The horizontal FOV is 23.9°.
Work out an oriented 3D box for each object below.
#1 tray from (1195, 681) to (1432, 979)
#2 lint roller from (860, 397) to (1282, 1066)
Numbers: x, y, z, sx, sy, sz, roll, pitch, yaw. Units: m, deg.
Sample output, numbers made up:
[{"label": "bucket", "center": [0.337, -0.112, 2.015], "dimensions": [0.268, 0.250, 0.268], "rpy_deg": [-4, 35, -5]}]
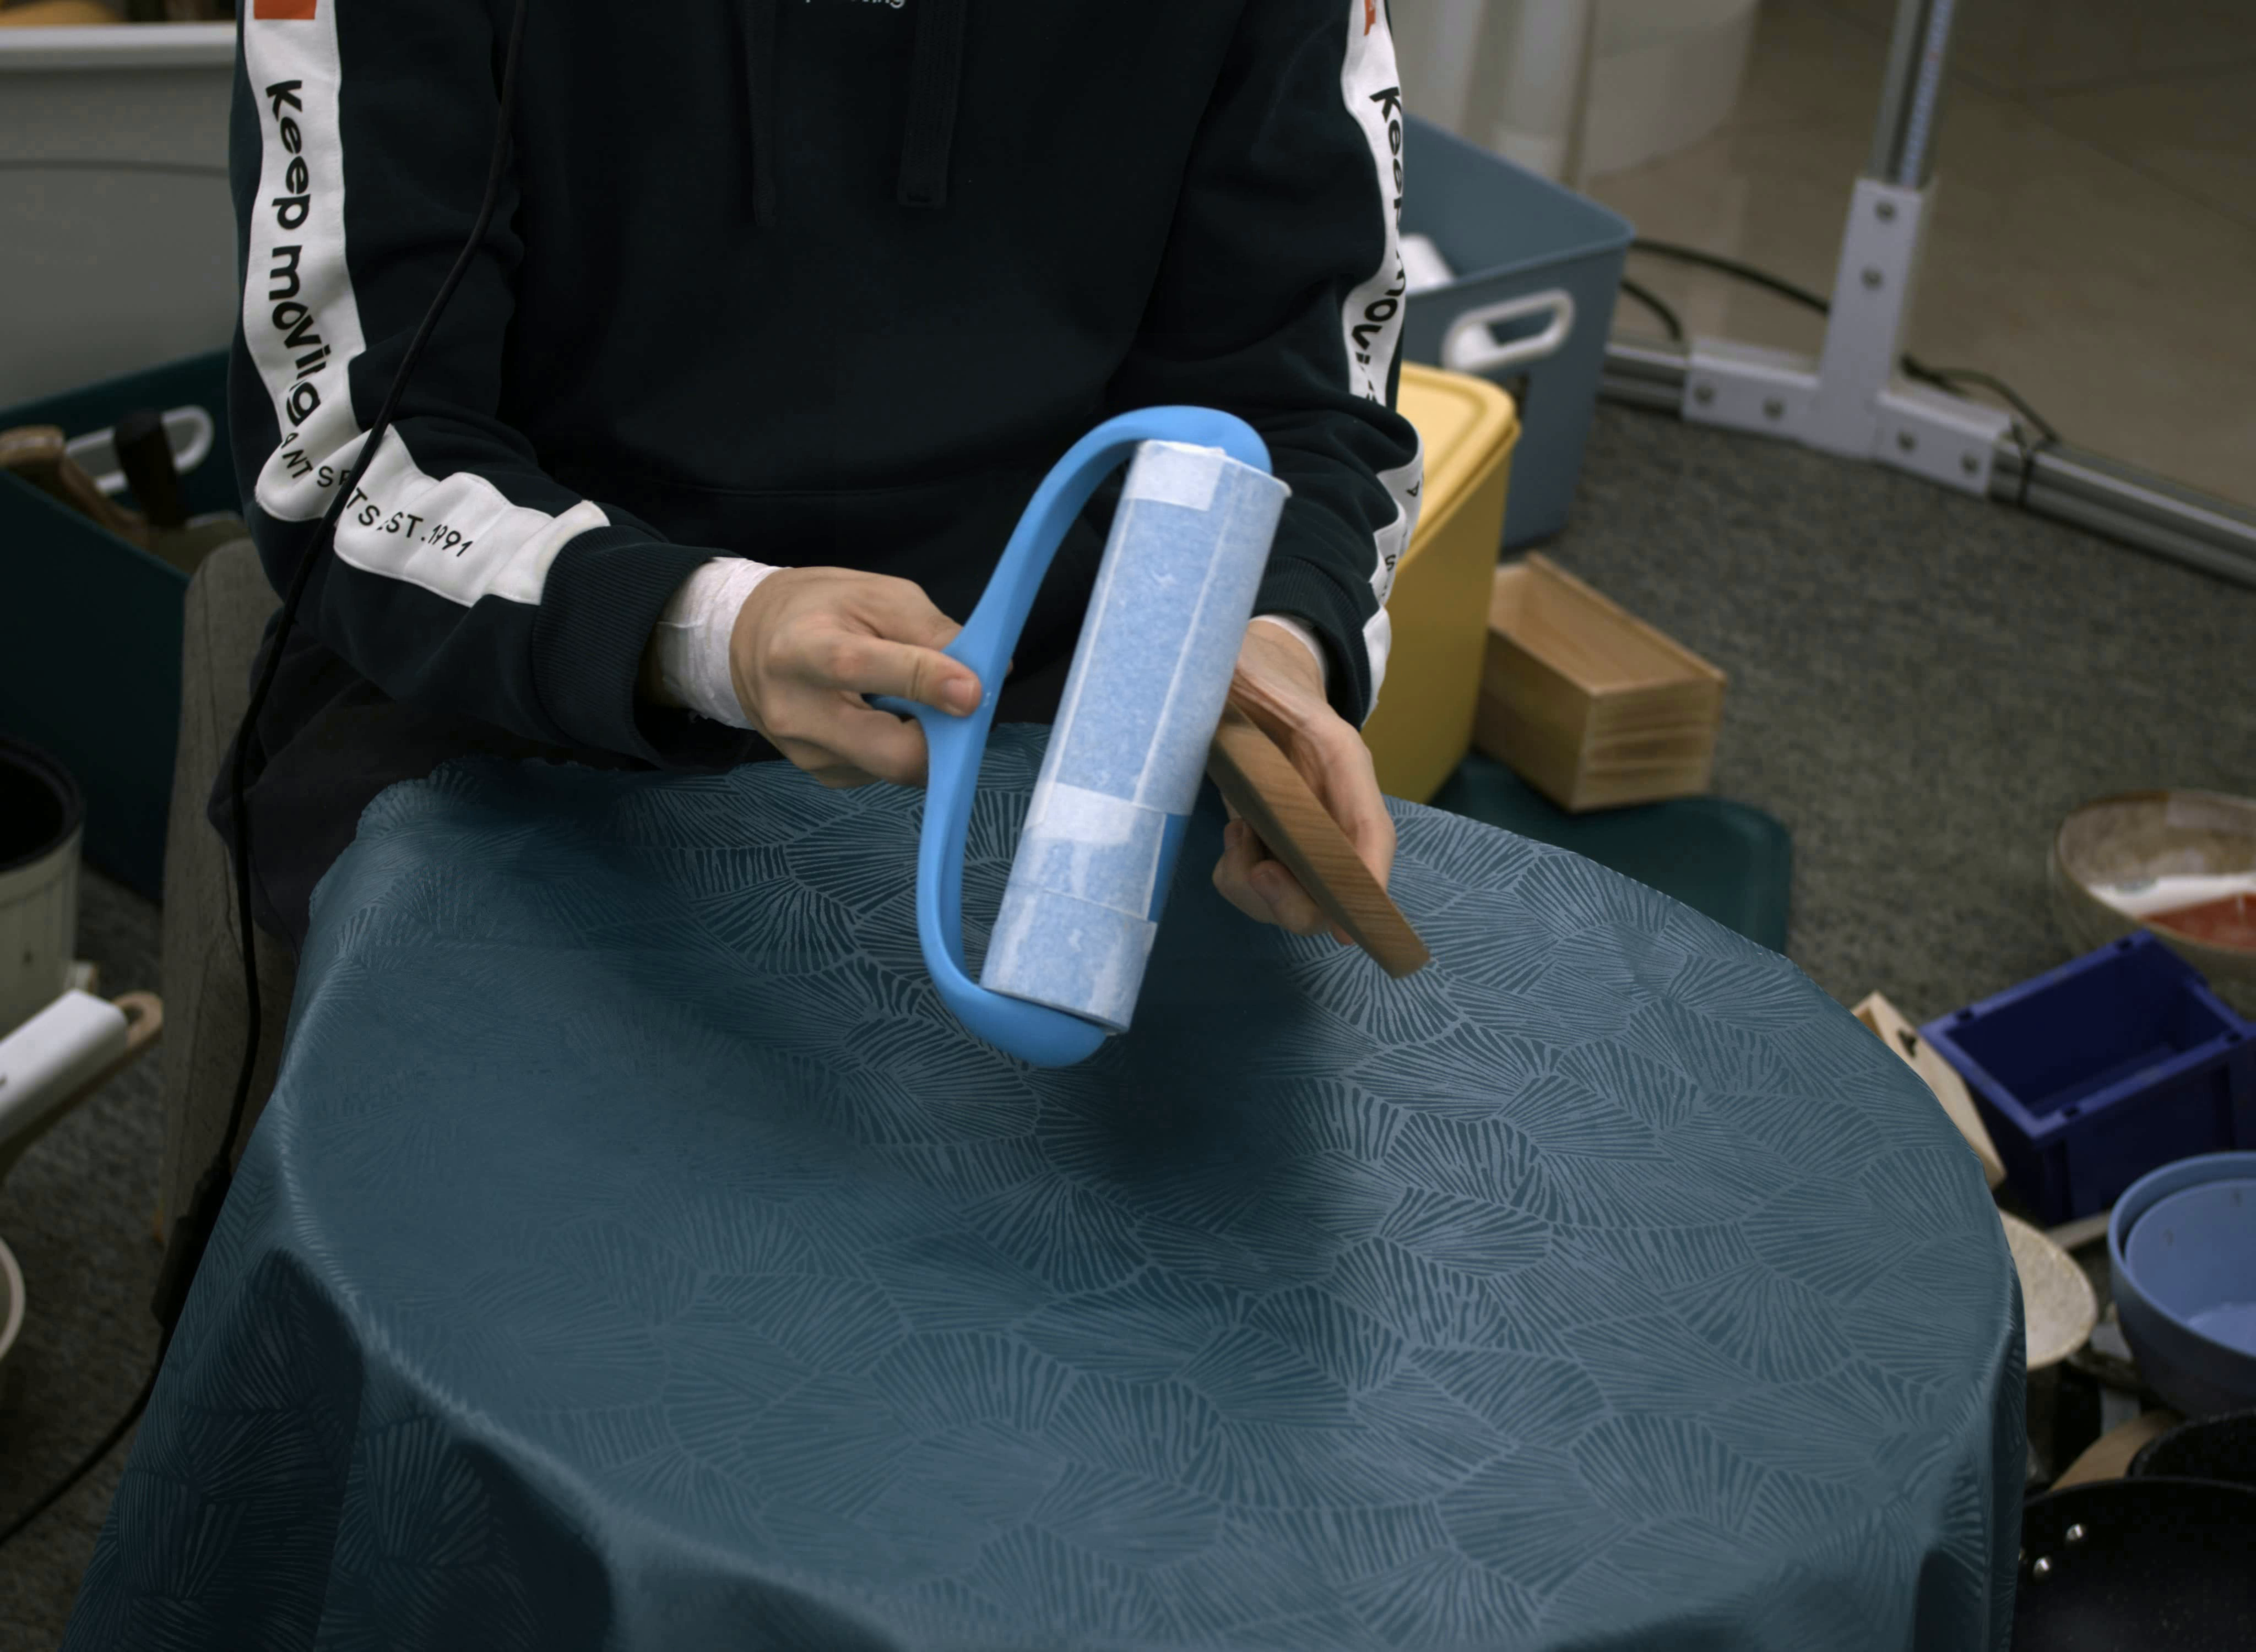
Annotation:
[{"label": "tray", "center": [0.051, -0.007, 1.841], "dimensions": [0.020, 0.101, 0.232], "rpy_deg": [-35, 19, -5]}, {"label": "lint roller", "center": [-0.043, -0.037, 1.815], "dimensions": [0.181, 0.230, 0.067], "rpy_deg": [5, -11, 43]}]
